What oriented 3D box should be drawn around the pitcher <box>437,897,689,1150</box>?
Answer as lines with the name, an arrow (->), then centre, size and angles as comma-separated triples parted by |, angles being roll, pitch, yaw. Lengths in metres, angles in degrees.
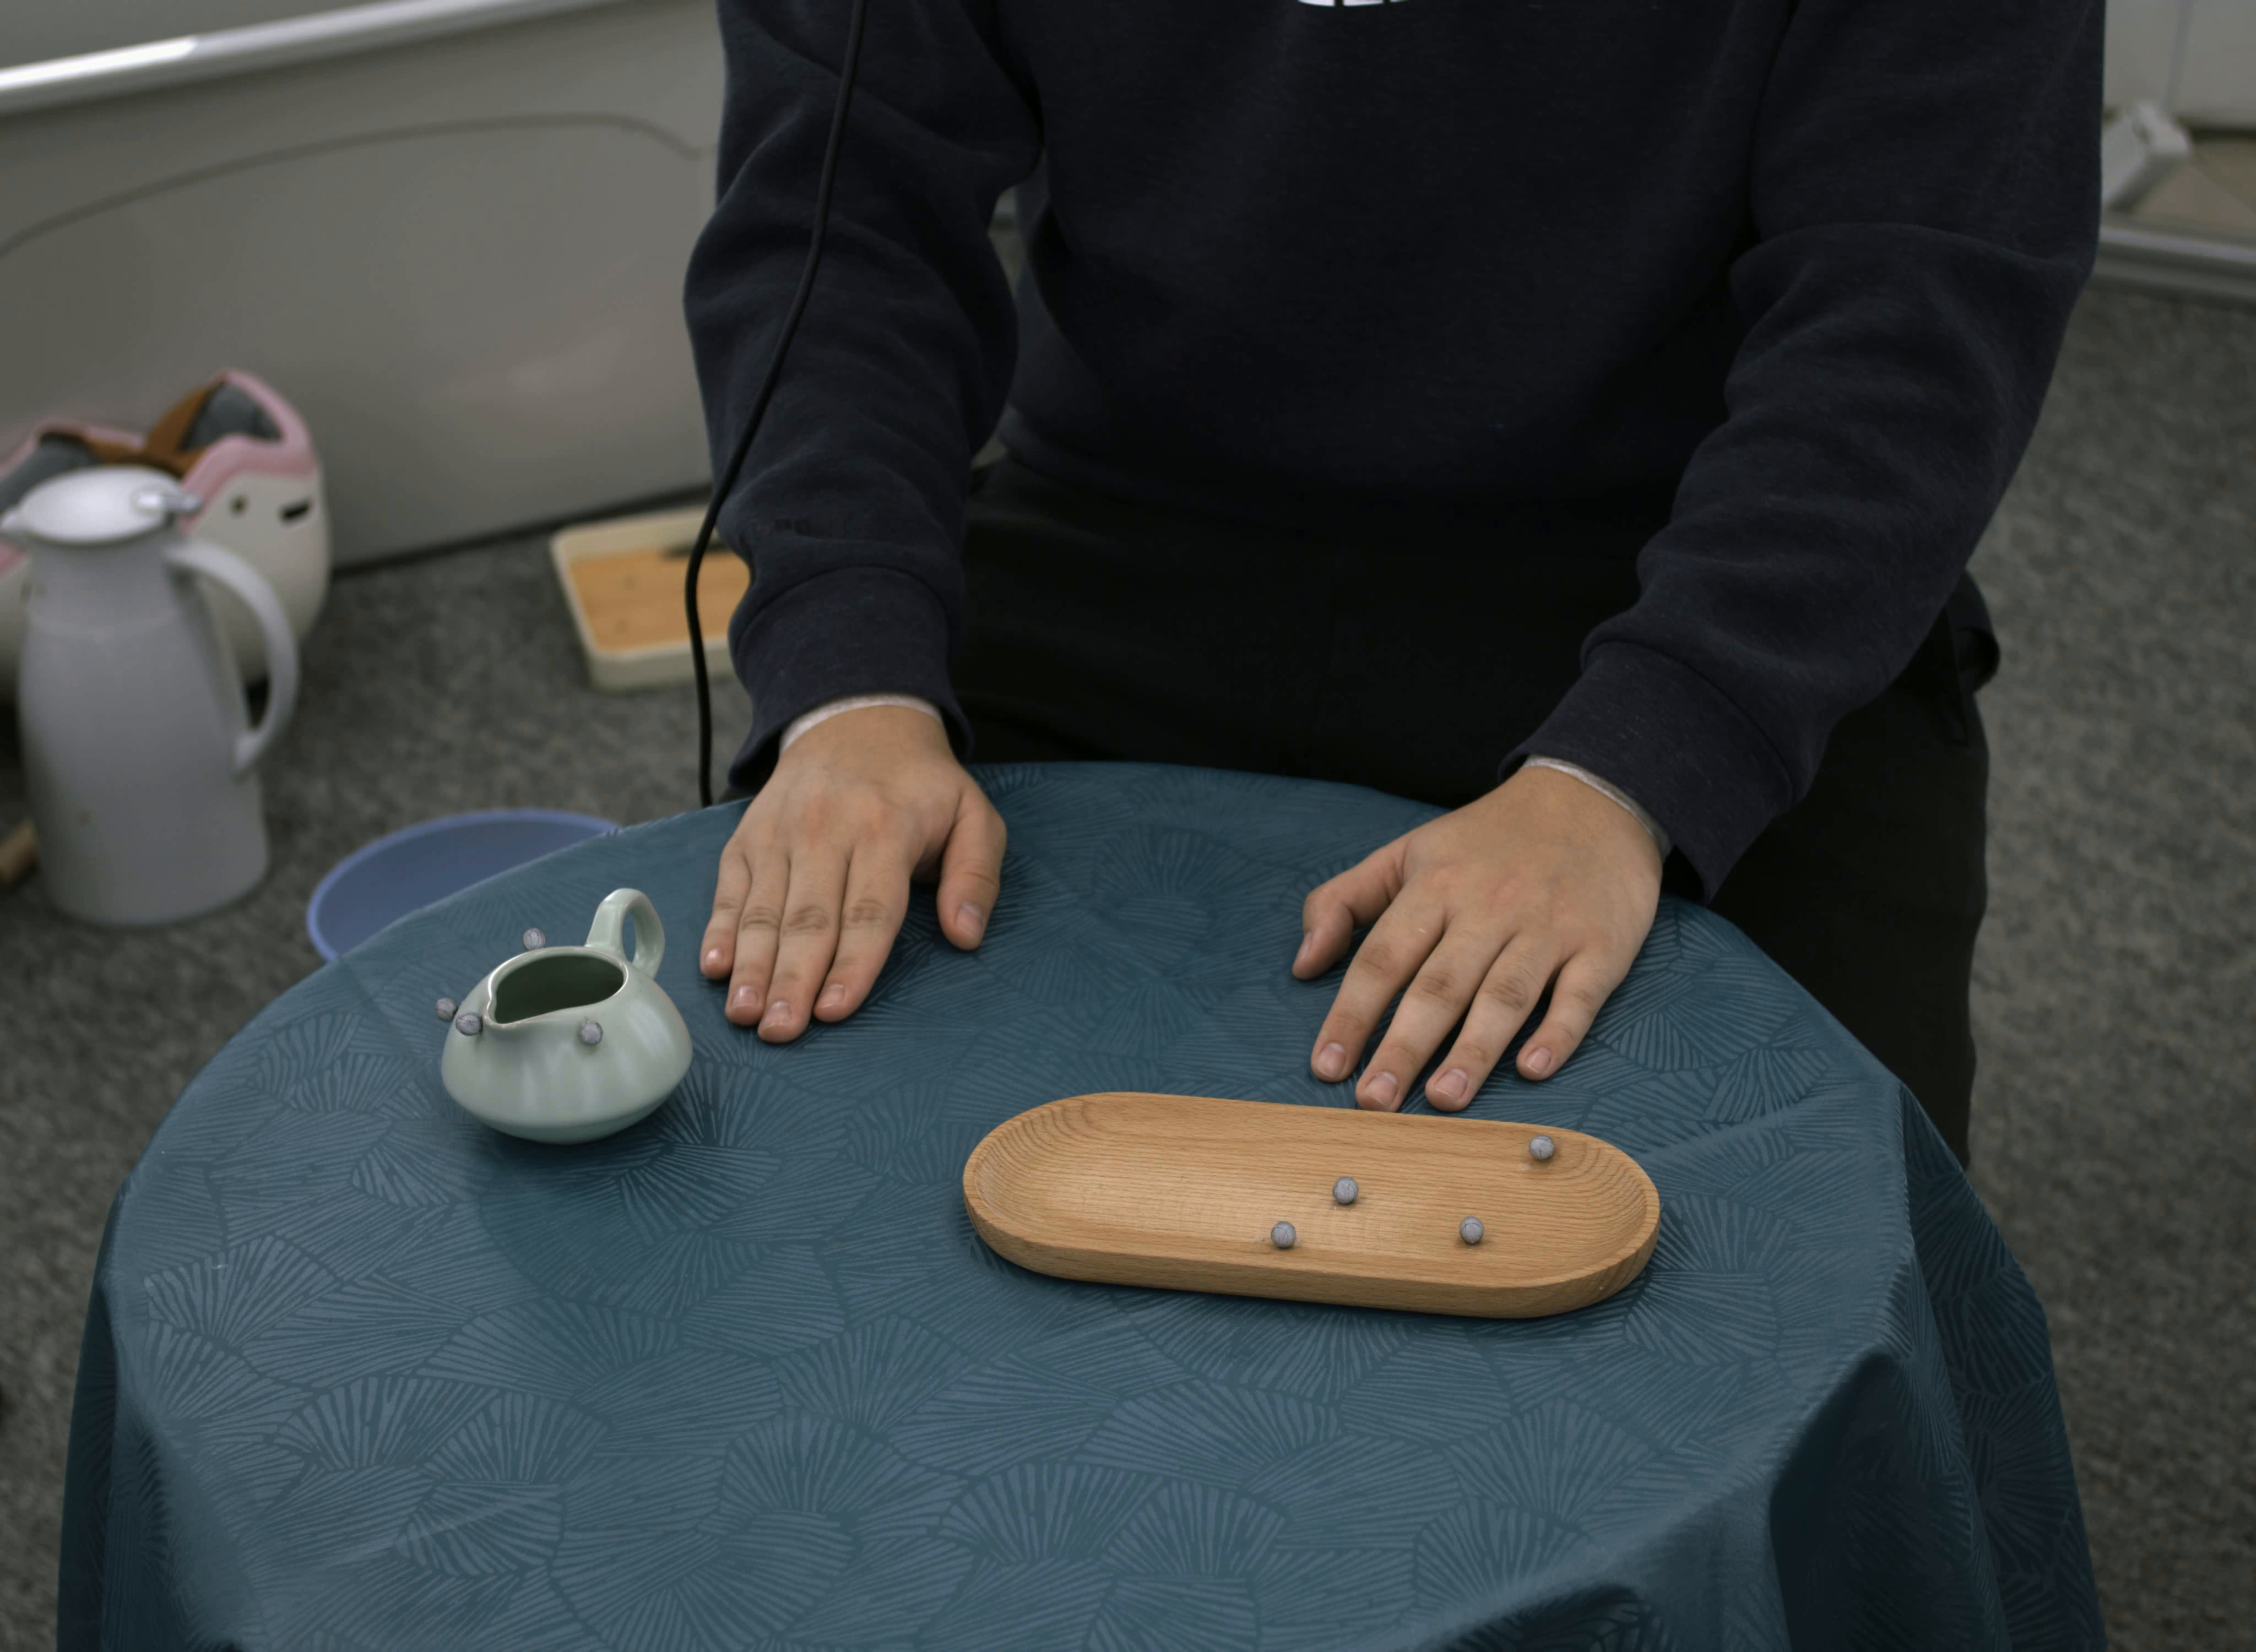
pitcher -> -0.189, 0.069, 1.924 | 0.085, 0.060, 0.110 | 9, 27, 19

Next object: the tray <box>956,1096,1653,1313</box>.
tray -> 0.057, 0.124, 1.838 | 0.229, 0.020, 0.103 | 2, 26, 13
